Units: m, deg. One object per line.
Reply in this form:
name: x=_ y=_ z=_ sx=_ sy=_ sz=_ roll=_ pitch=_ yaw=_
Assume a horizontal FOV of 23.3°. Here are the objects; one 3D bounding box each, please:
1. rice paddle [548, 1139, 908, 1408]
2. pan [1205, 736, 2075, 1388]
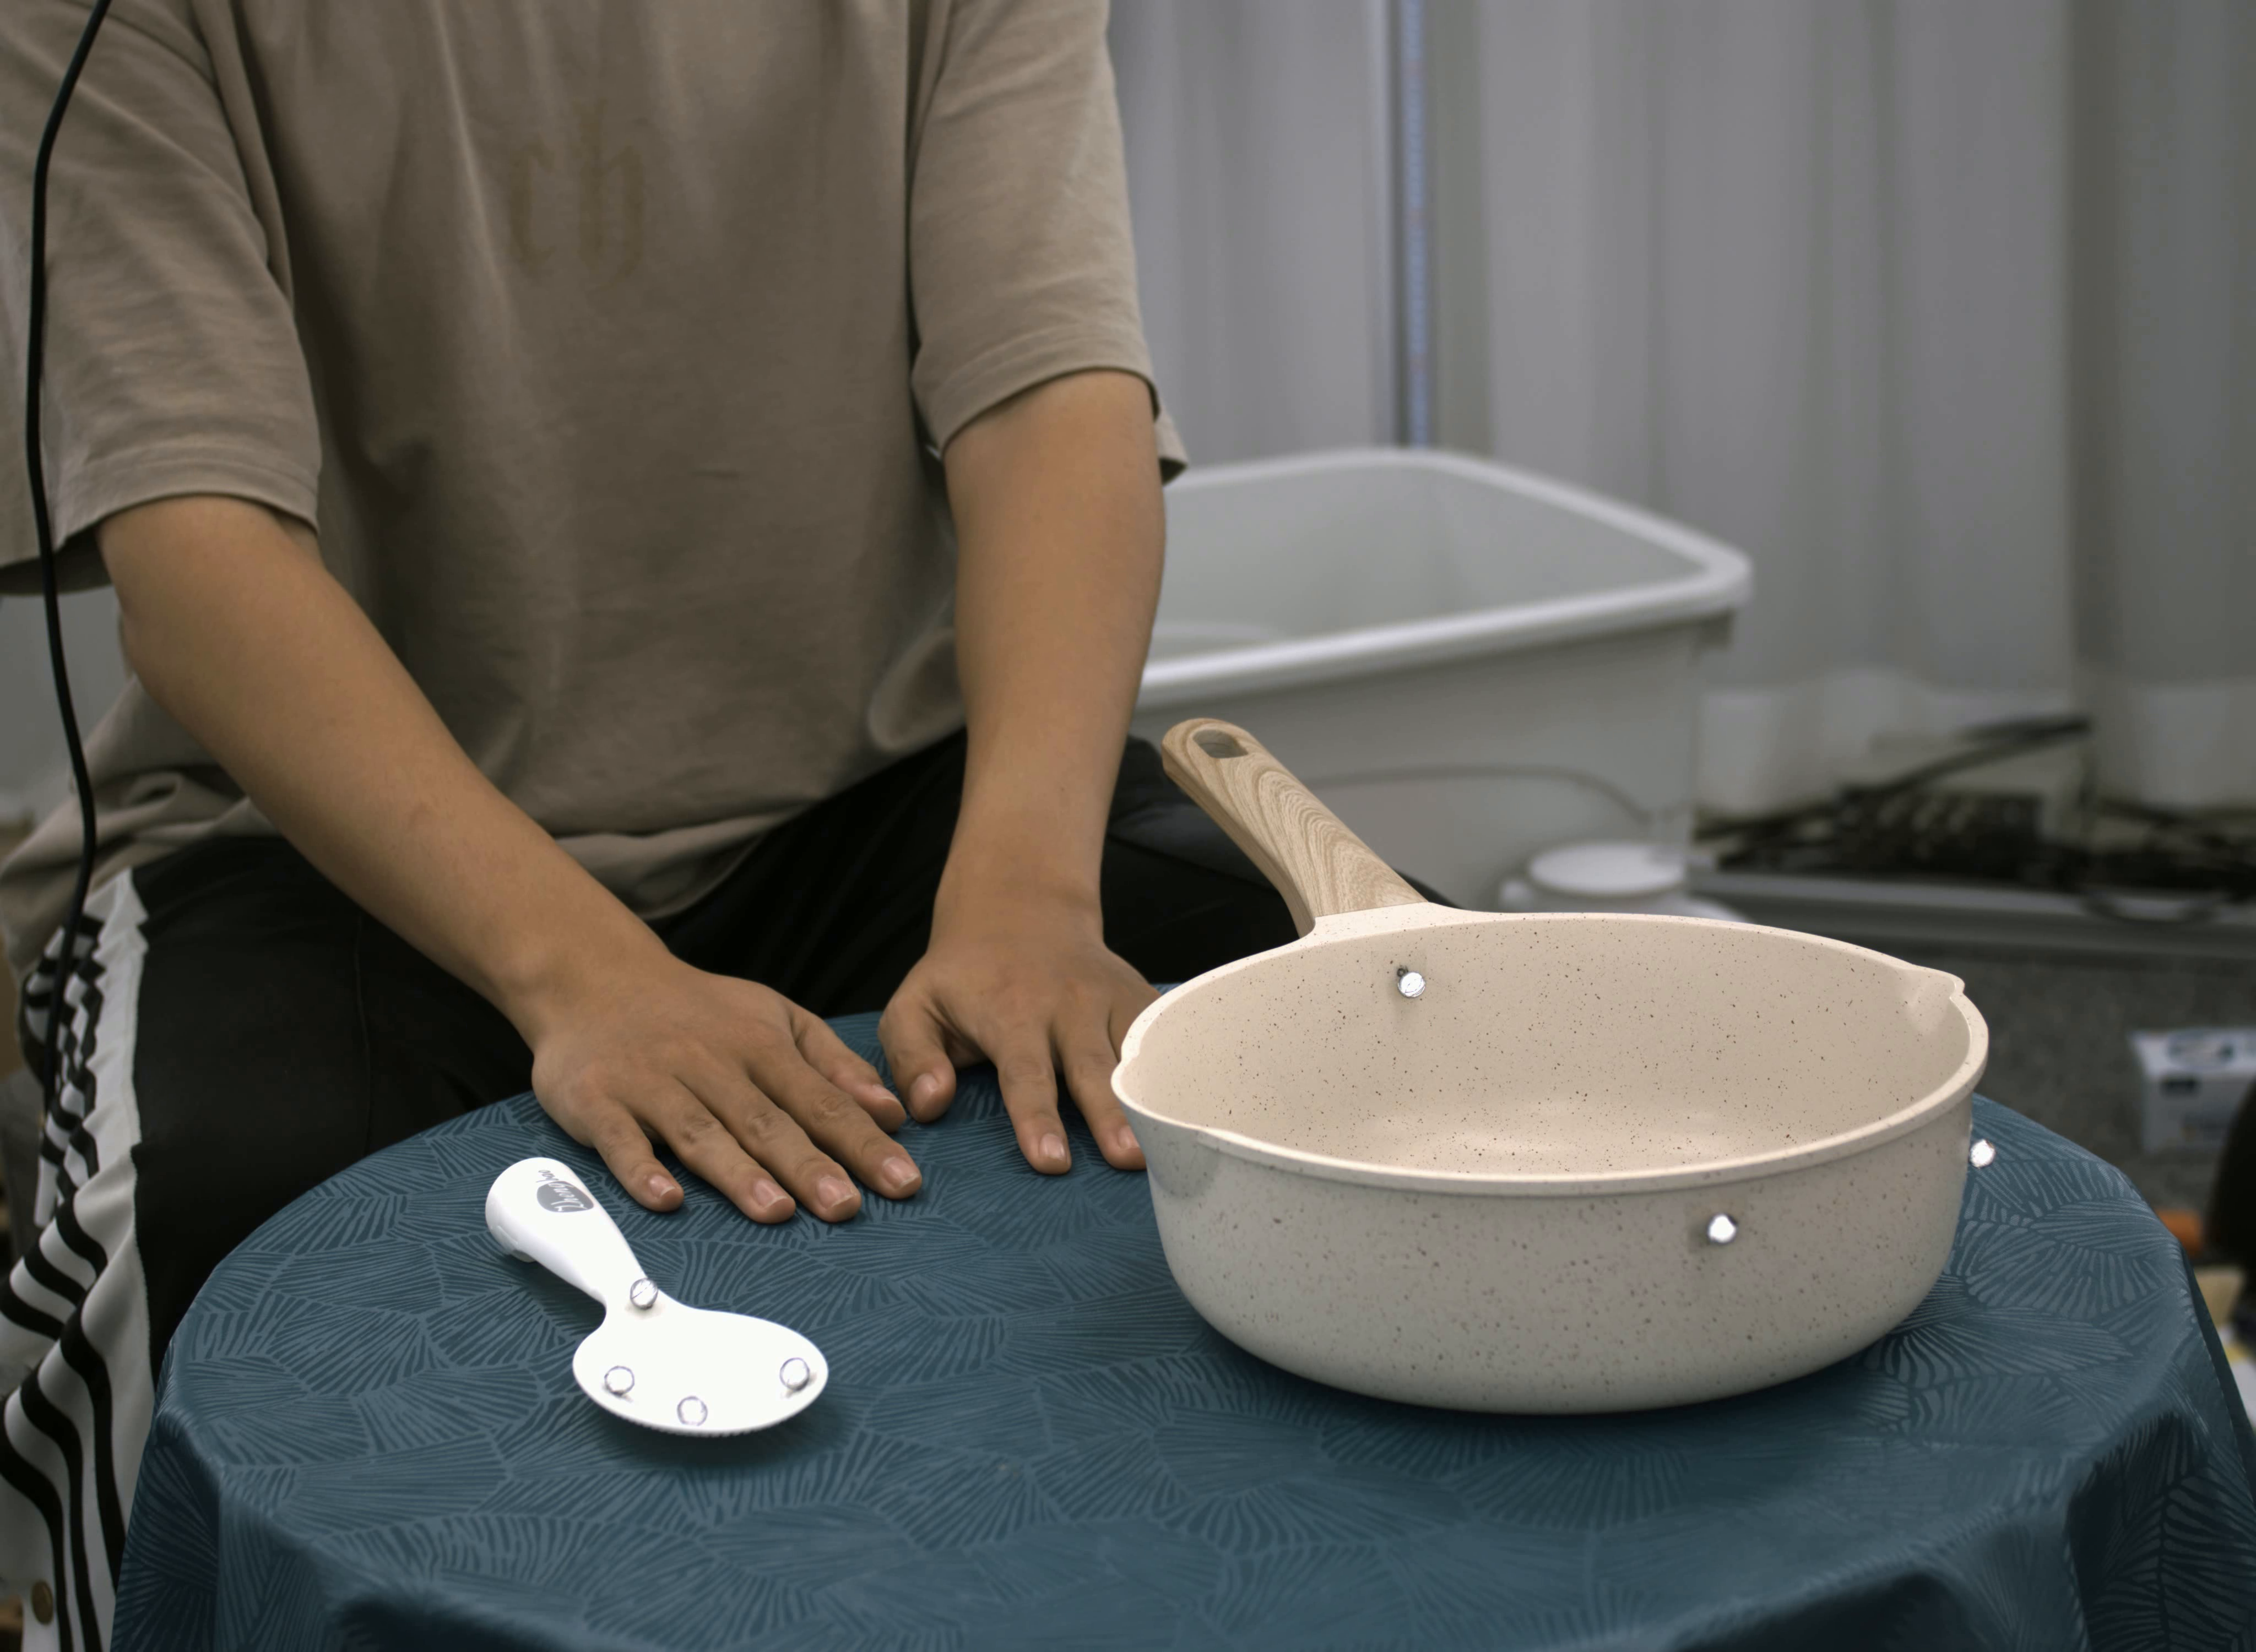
rice paddle: x=-0.122 y=0.132 z=1.593 sx=0.068 sy=0.029 sz=0.207 roll=-11 pitch=17 yaw=-22
pan: x=0.120 y=0.065 z=1.681 sx=0.262 sy=0.101 sz=0.438 roll=-10 pitch=16 yaw=-17
